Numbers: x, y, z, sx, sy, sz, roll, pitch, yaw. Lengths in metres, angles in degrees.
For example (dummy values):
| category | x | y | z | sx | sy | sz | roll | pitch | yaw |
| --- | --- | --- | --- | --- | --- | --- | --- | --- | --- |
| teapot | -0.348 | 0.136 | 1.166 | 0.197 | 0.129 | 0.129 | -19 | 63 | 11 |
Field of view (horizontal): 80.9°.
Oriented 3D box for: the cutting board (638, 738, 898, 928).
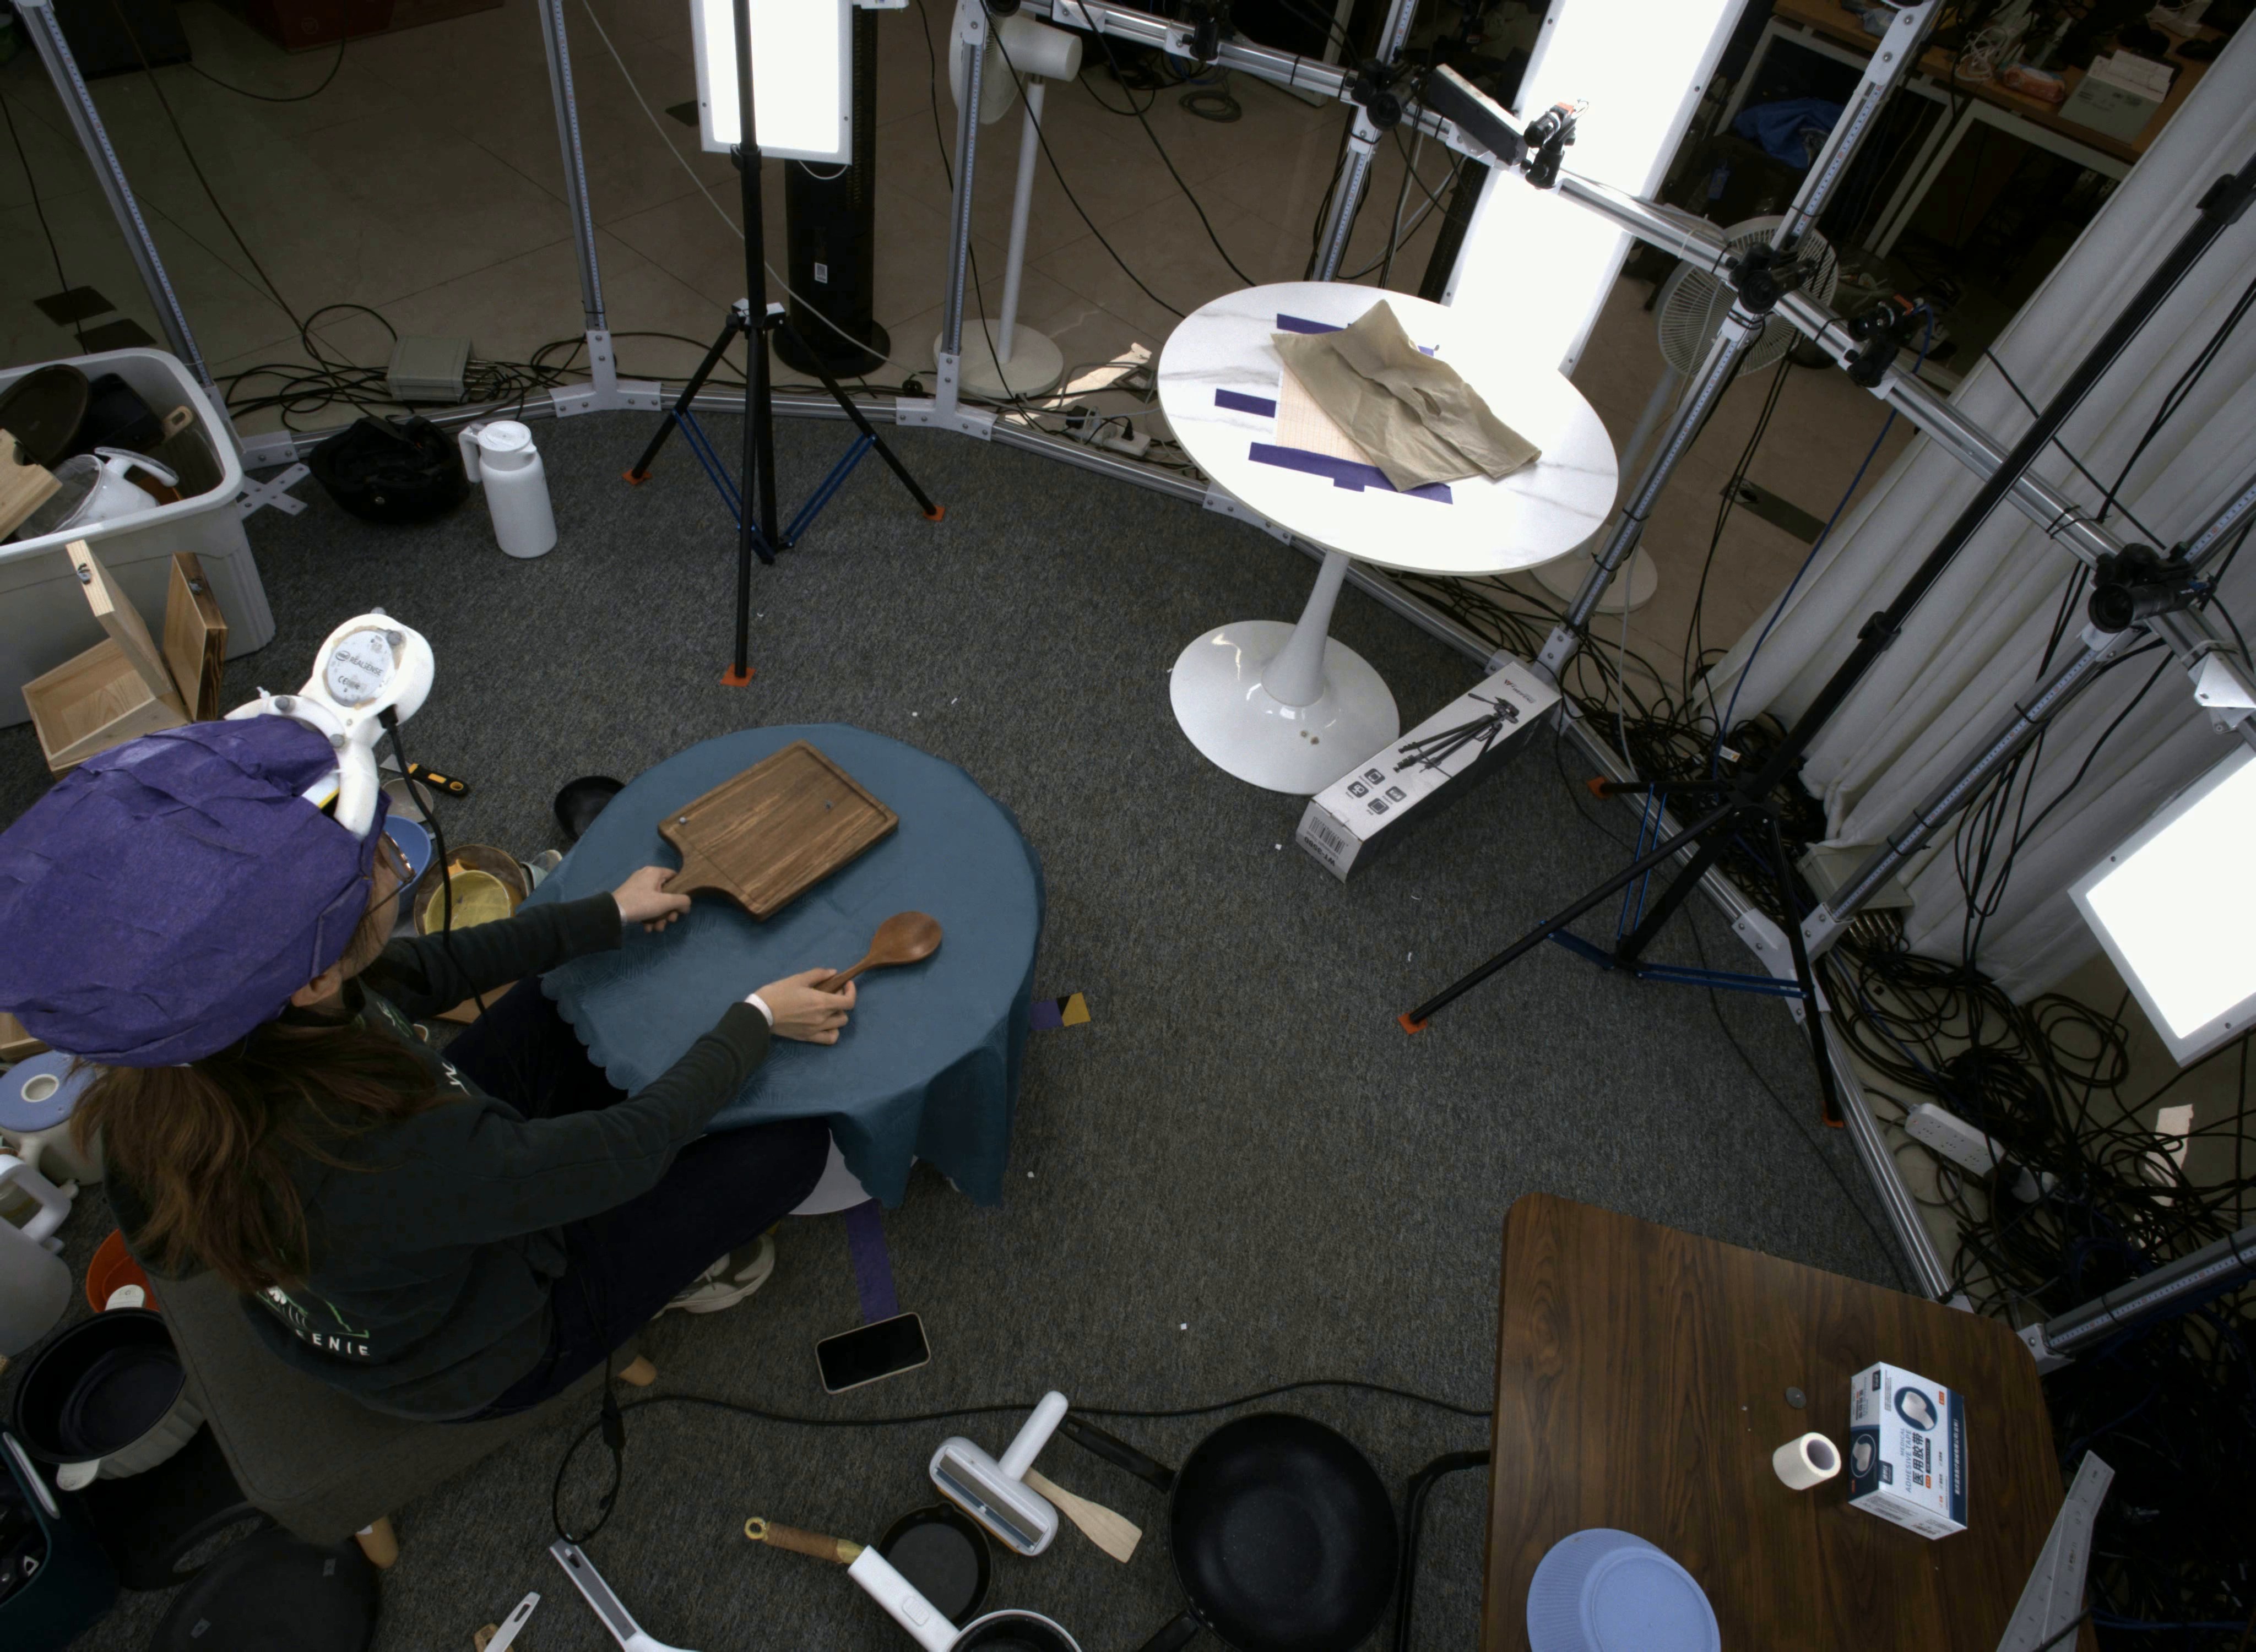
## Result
| category | x | y | z | sx | sy | sz | roll | pitch | yaw |
| --- | --- | --- | --- | --- | --- | --- | --- | --- | --- |
| cutting board | -0.485 | 0.023 | 1.665 | 0.197 | 0.023 | 0.353 | 40 | 49 | 13 |

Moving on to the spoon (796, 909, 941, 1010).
| category | x | y | z | sx | sy | sz | roll | pitch | yaw |
| --- | --- | --- | --- | --- | --- | --- | --- | --- | --- |
| spoon | -0.321 | 0.166 | 1.608 | 0.074 | 0.017 | 0.217 | 43 | 47 | 16 |
